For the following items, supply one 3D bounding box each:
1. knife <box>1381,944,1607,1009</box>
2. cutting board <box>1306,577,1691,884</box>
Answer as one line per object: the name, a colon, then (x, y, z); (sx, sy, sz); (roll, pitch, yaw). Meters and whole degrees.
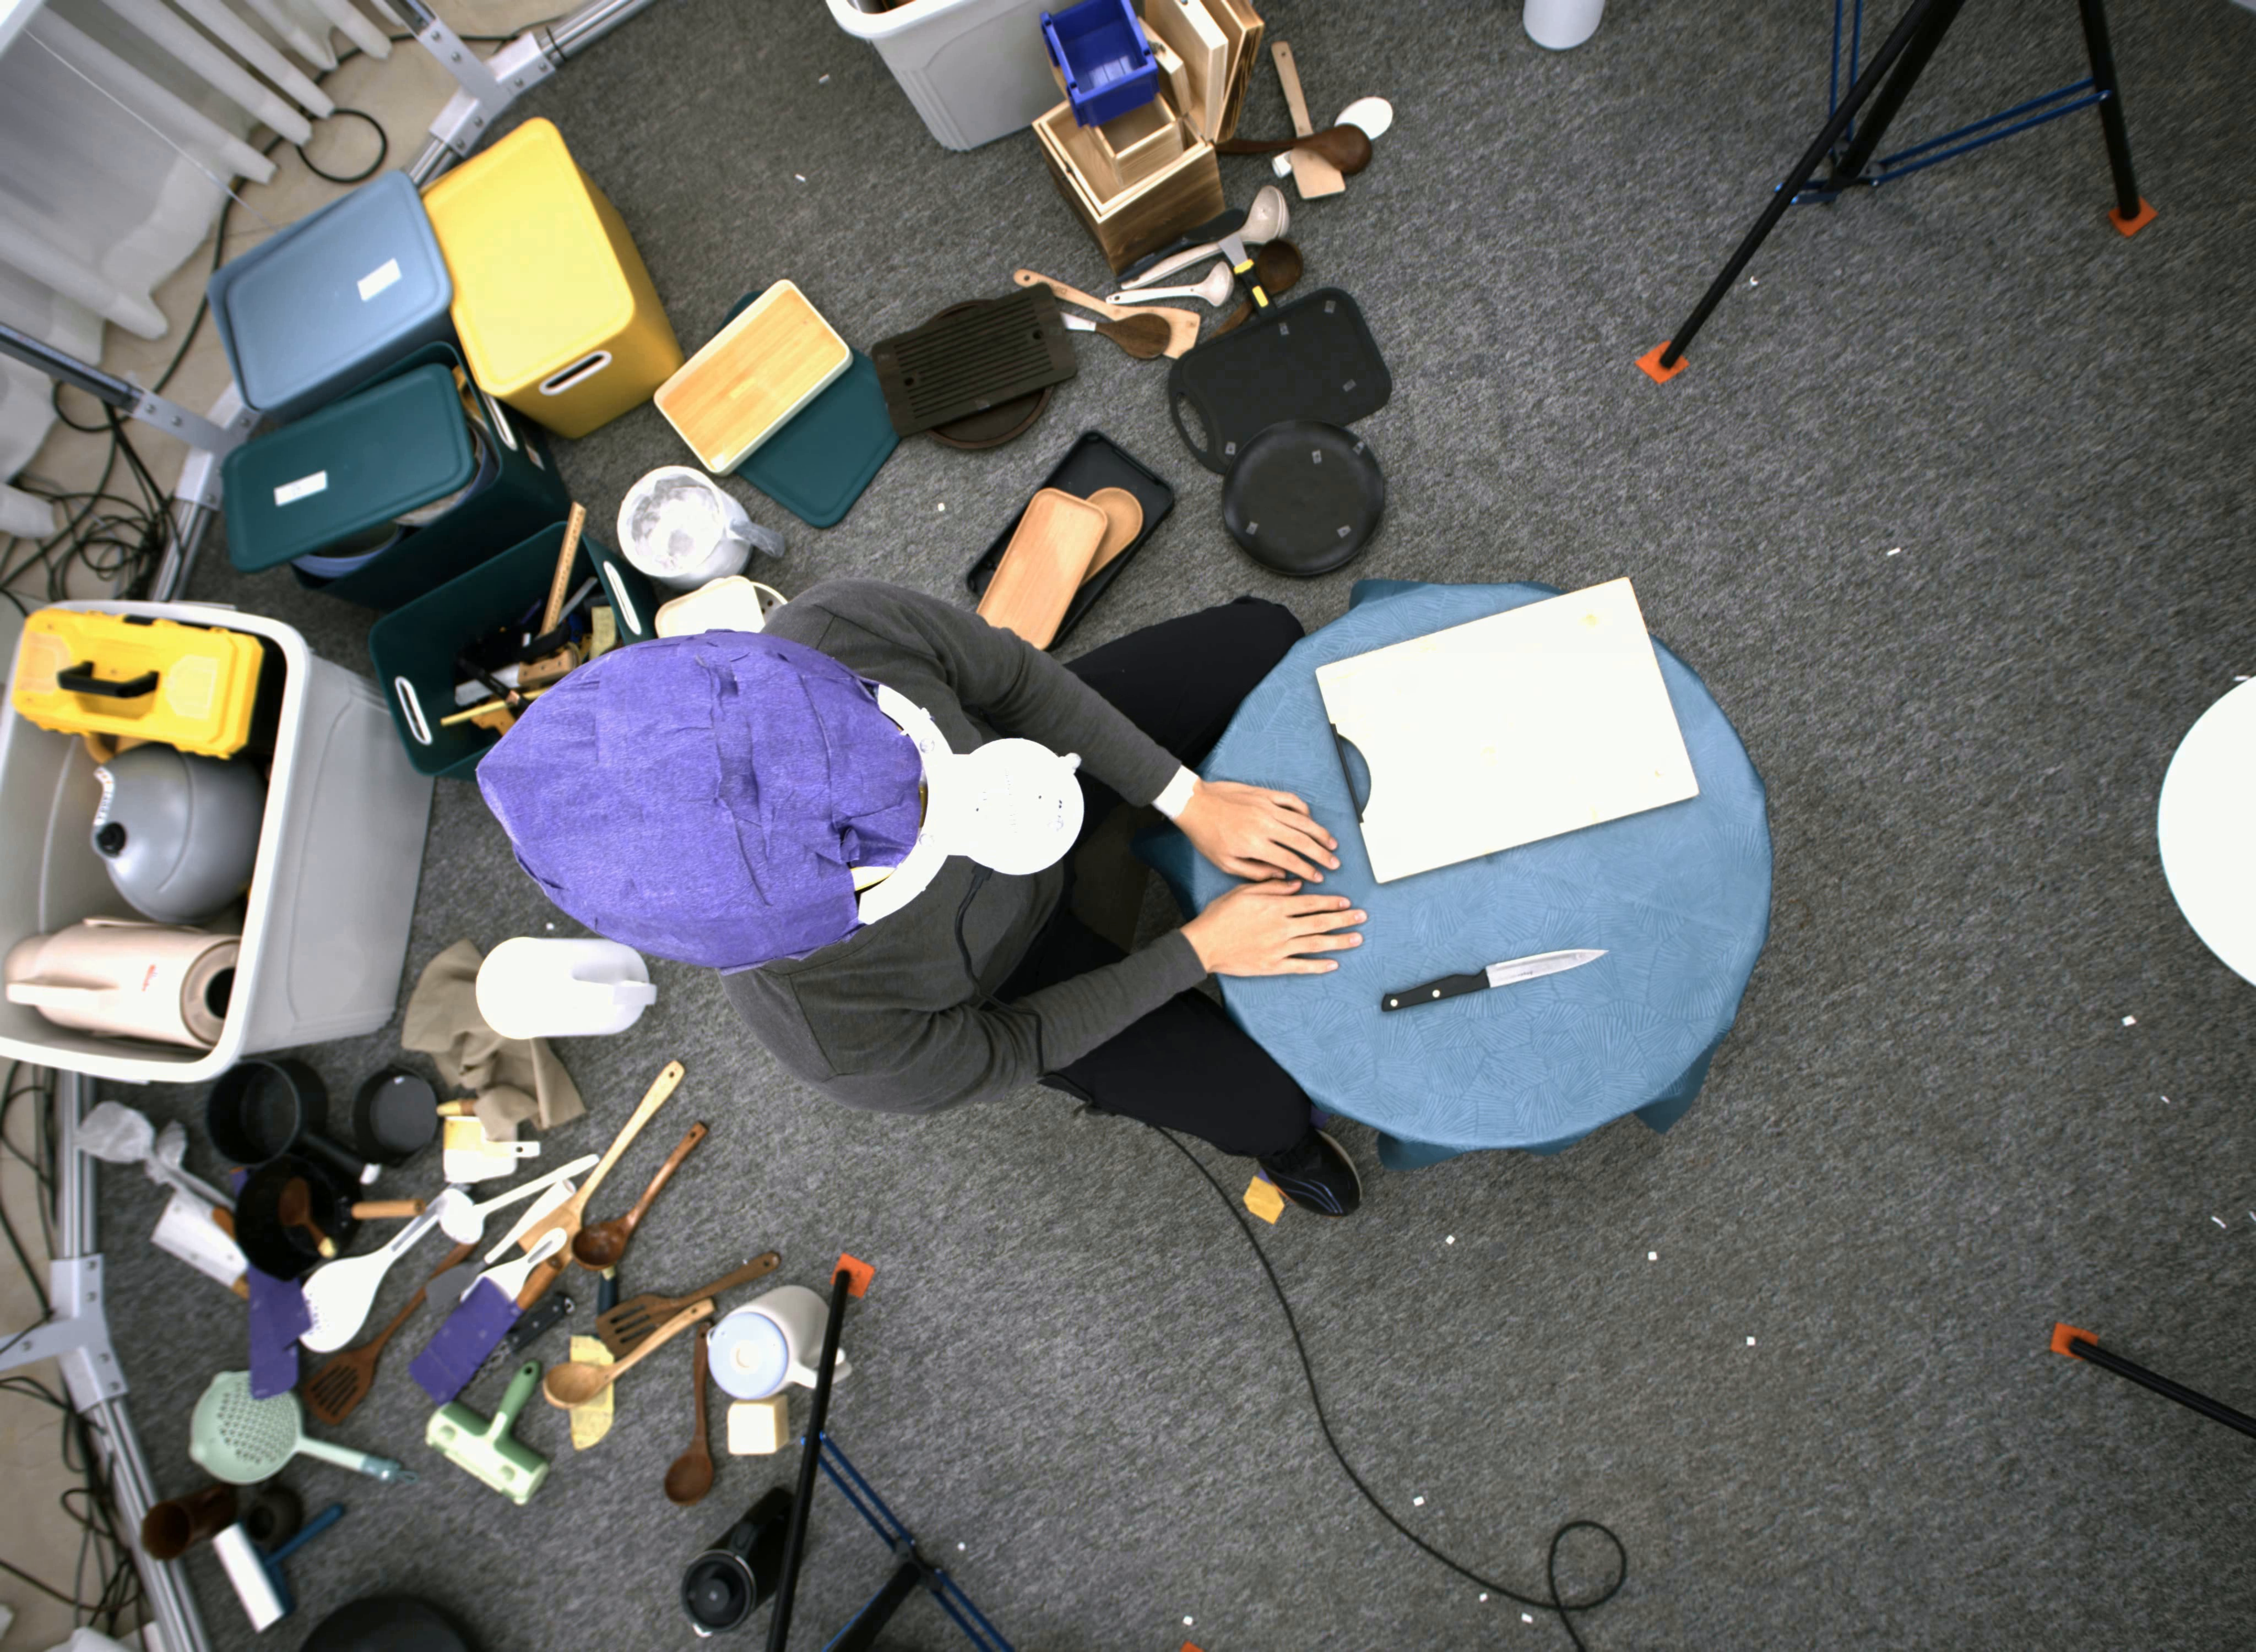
knife: (0.381, 0.154, 1.429); (0.239, 0.016, 0.024); (-15, 85, 7)
cutting board: (0.387, -0.102, 1.440); (0.350, 0.023, 0.249); (-17, 83, 9)
